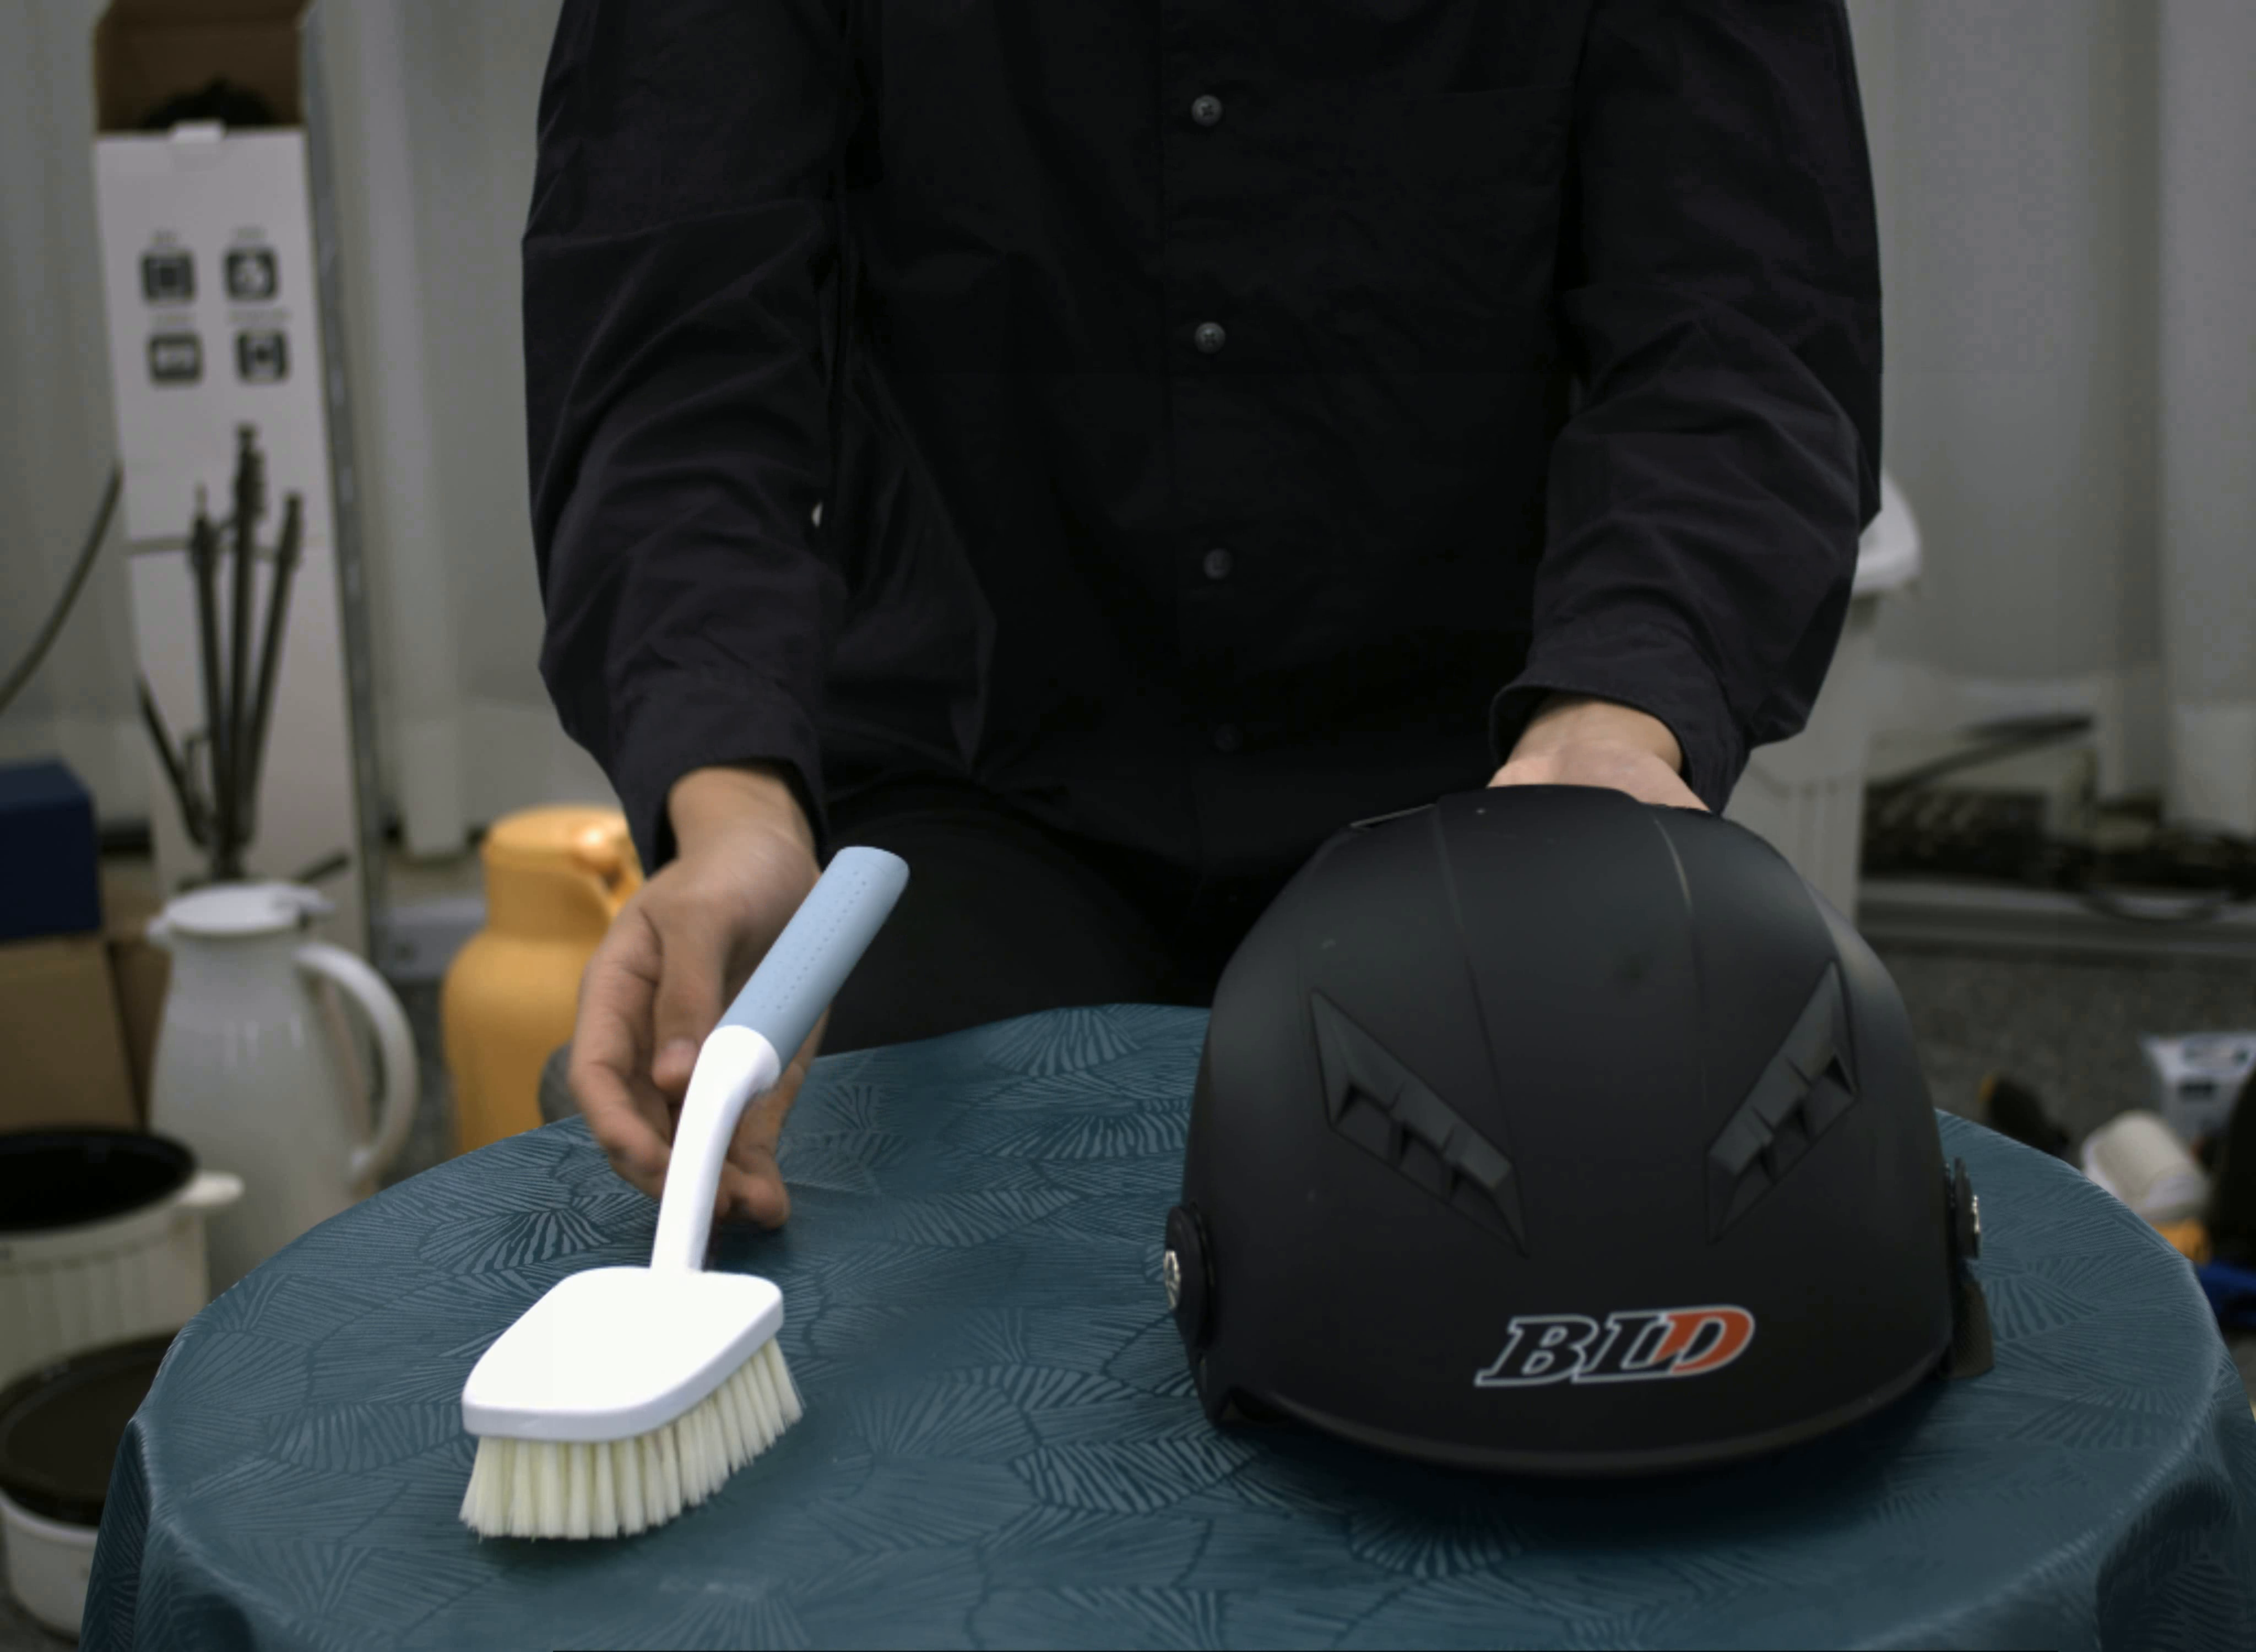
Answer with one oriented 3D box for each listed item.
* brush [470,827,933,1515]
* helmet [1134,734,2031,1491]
[{"bbox_3d":[-0.108,0.112,1.589,0.083,0.084,0.328,34,32,-1],"label":"brush"},{"bbox_3d":[0.123,0.071,1.541,0.246,0.171,0.279,-4,17,-1],"label":"helmet"}]
